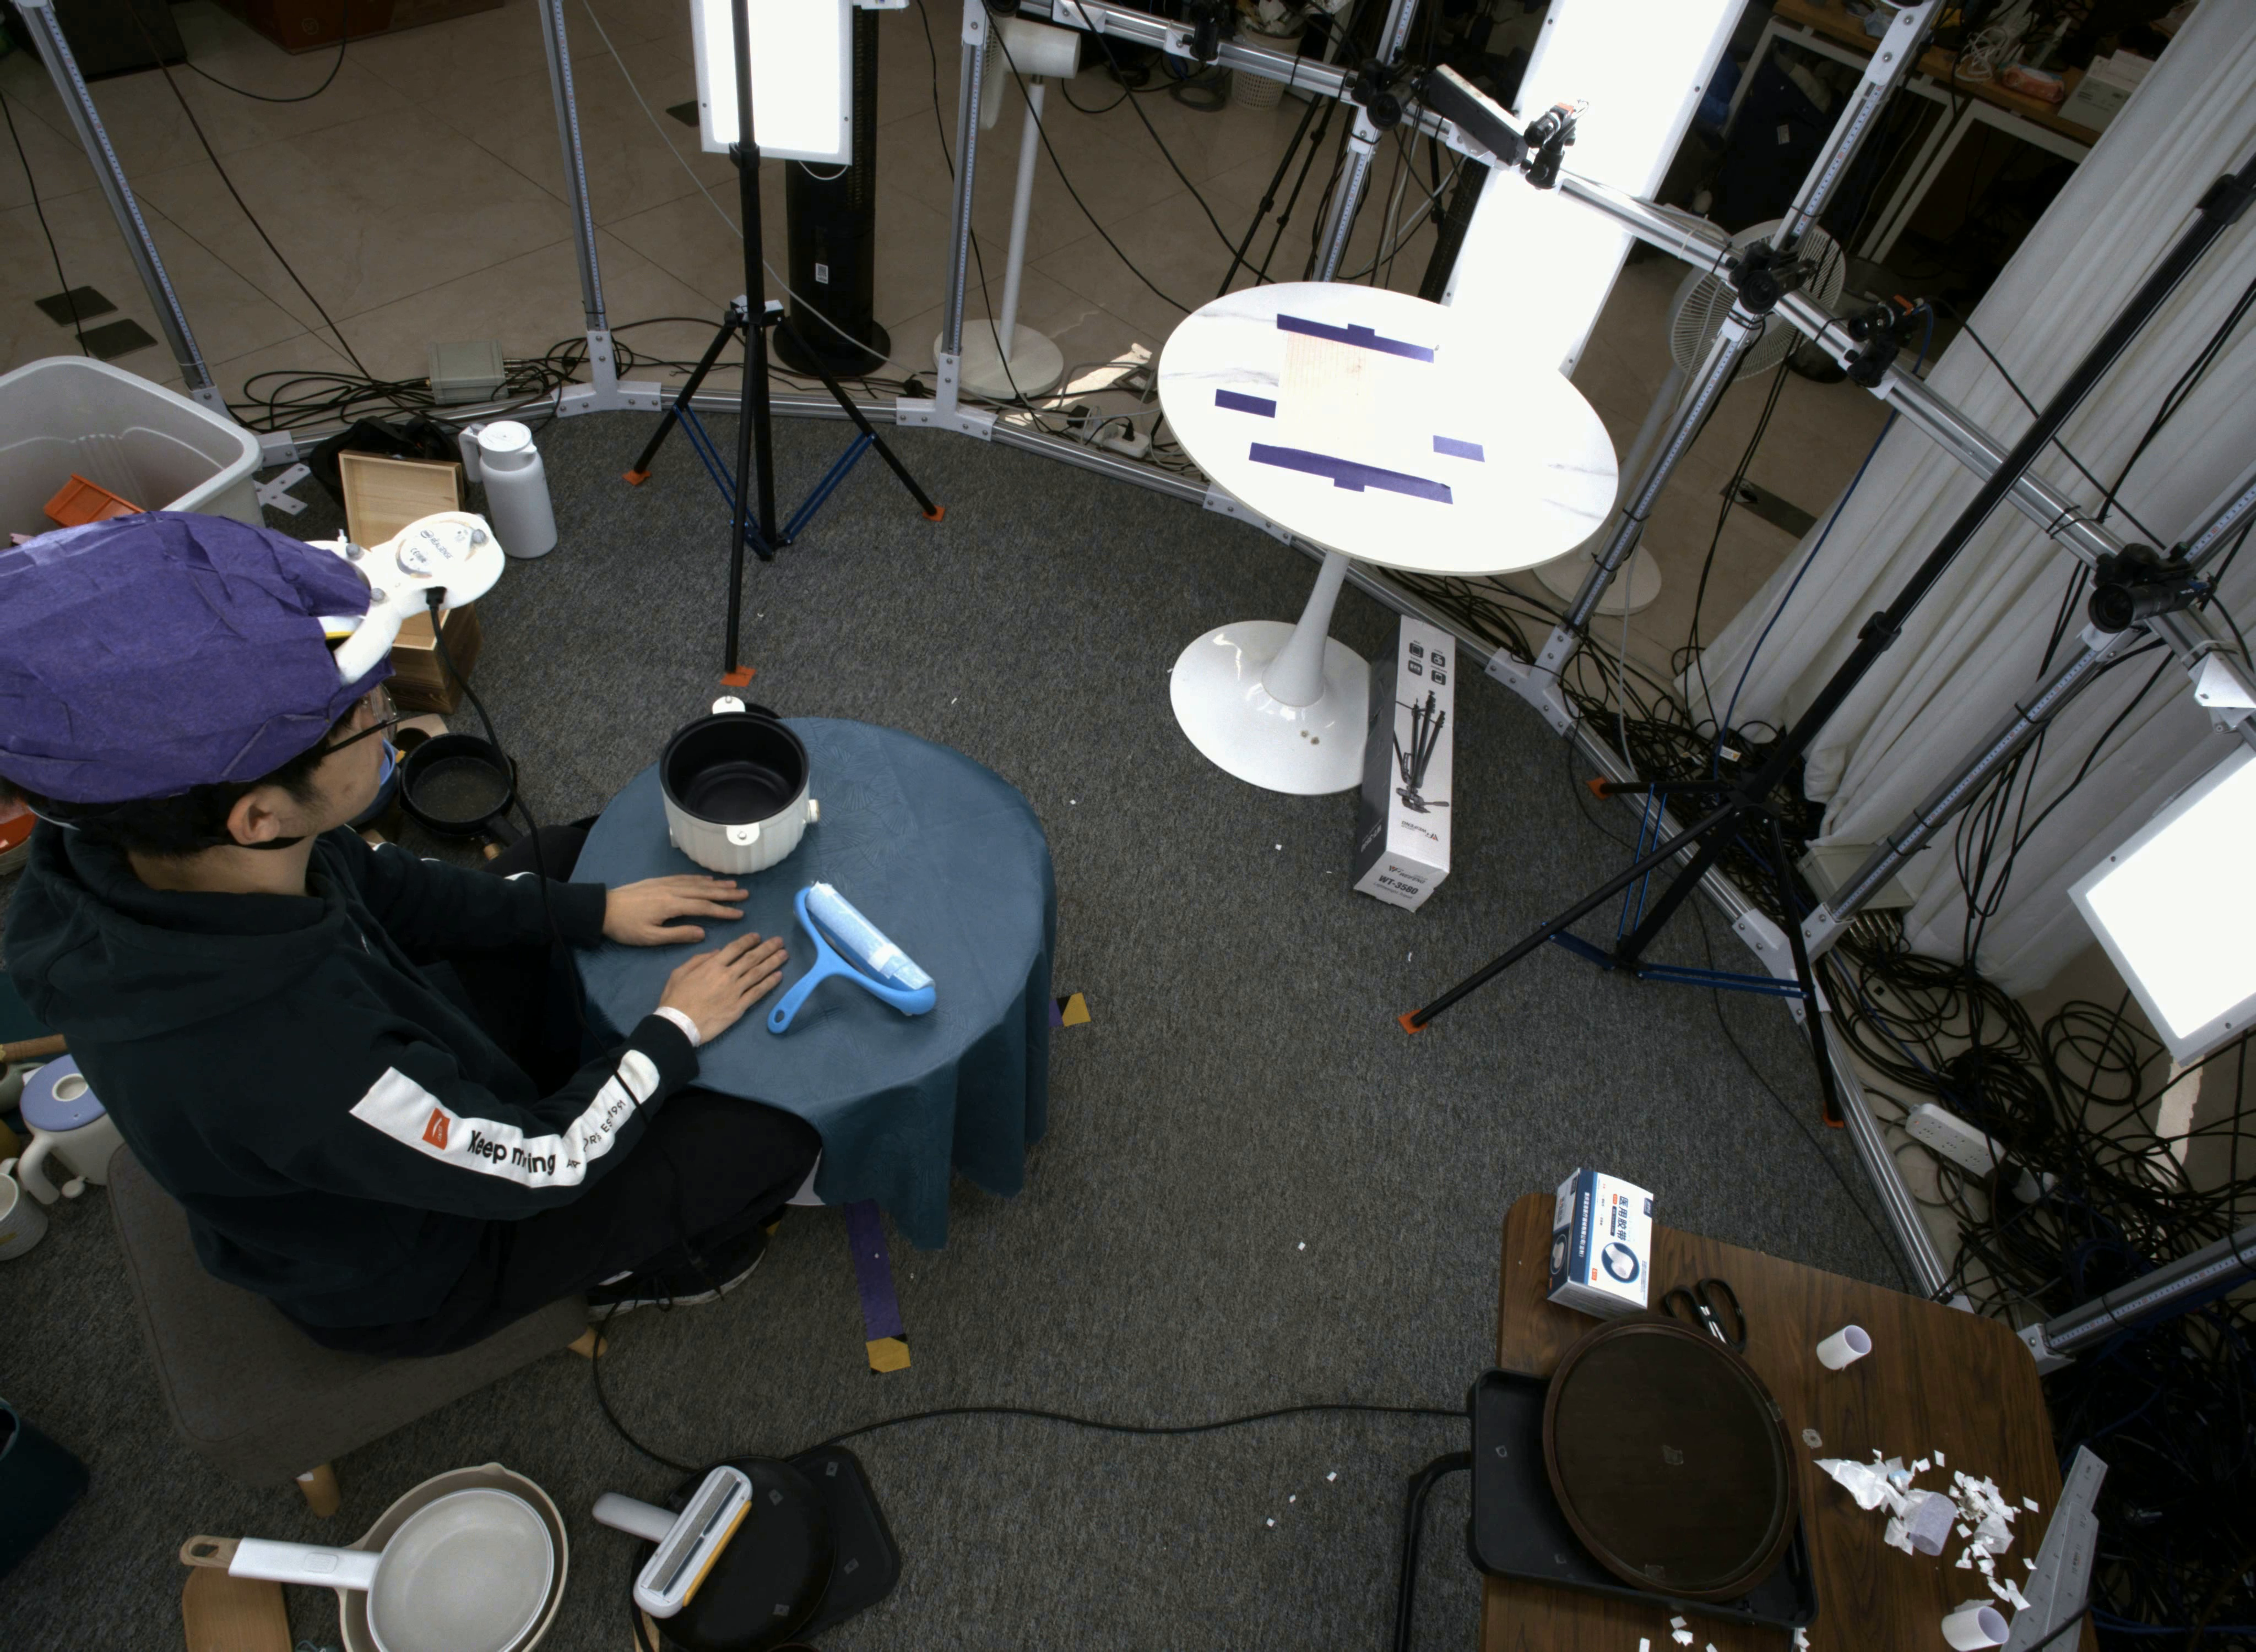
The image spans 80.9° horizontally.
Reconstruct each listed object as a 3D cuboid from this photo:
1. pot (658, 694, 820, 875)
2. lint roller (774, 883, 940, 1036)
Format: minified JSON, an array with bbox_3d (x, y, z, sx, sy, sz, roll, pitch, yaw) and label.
[{"bbox_3d":[-0.494,-0.039,1.650,0.191,0.146,0.235,-9,58,-16],"label":"pot"},{"bbox_3d":[-0.358,0.179,1.580,0.225,0.069,0.180,37,54,11],"label":"lint roller"}]
